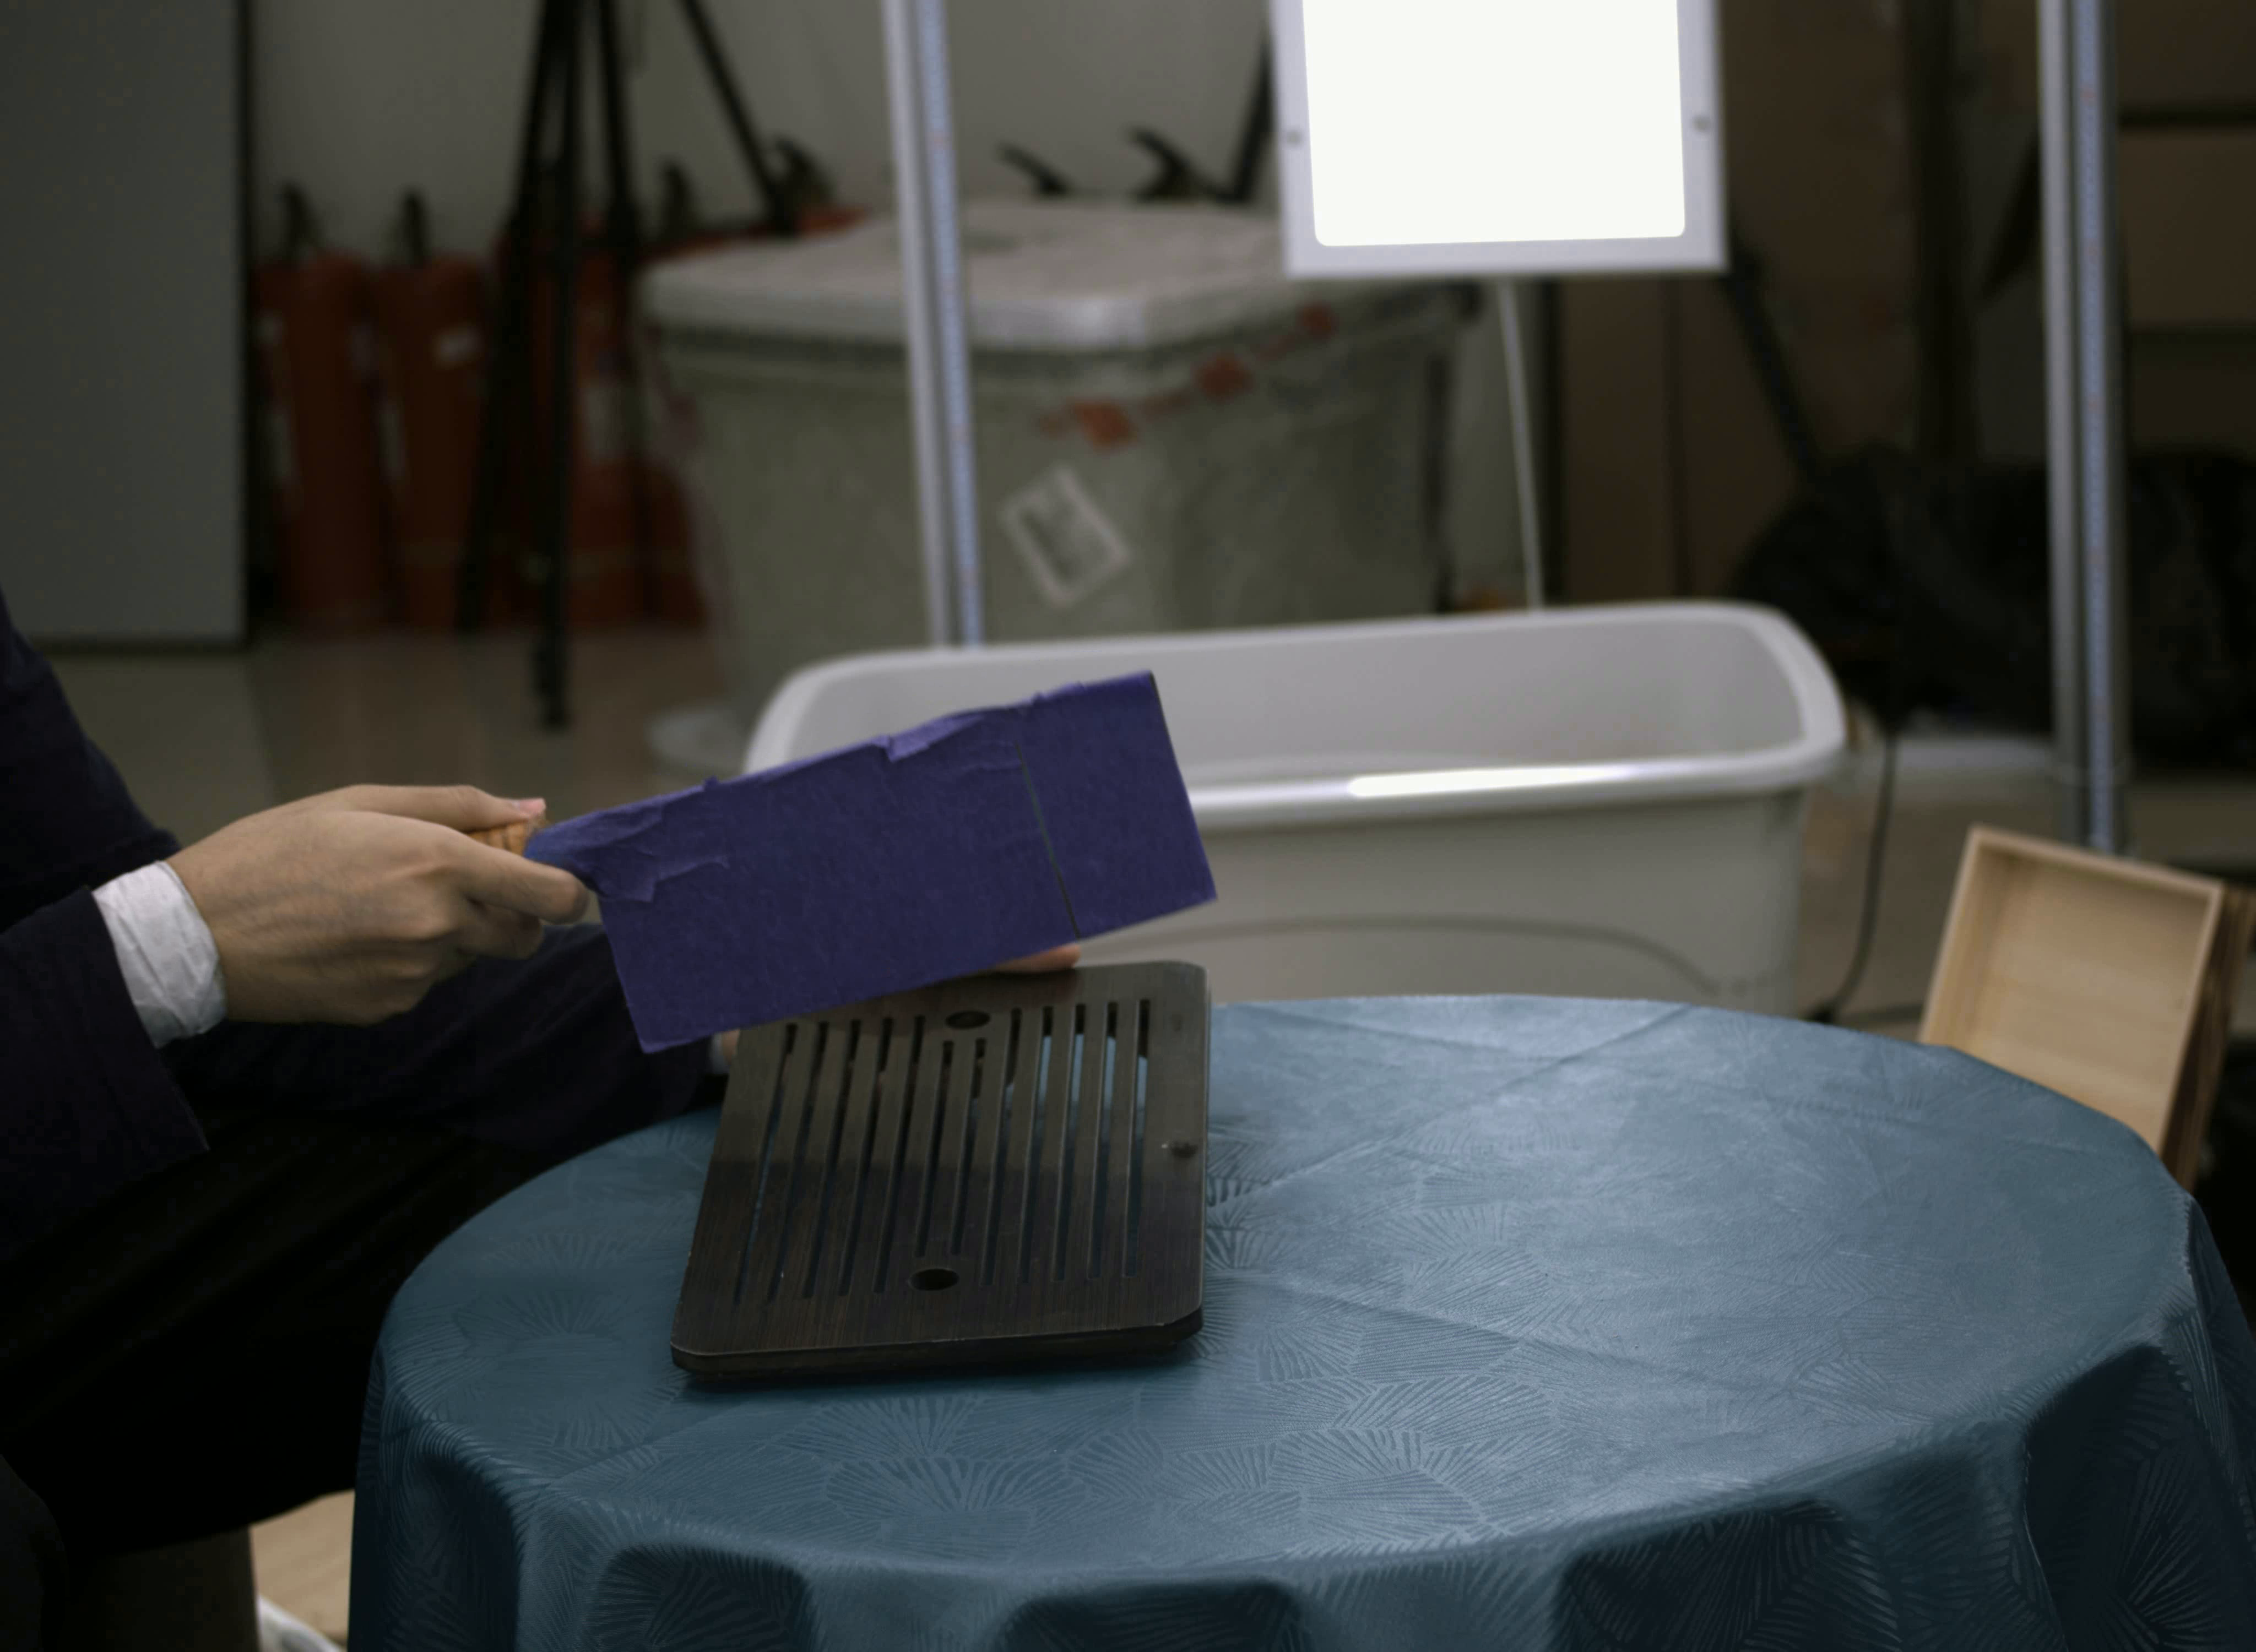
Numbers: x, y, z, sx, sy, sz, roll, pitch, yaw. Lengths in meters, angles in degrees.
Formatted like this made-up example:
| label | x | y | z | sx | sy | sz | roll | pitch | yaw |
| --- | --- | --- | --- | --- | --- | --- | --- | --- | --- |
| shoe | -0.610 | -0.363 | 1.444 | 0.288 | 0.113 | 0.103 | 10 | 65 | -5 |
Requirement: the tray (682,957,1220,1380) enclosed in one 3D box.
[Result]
| label | x | y | z | sx | sy | sz | roll | pitch | yaw |
| --- | --- | --- | --- | --- | --- | --- | --- | --- | --- |
| tray | -0.053 | 0.114 | 1.867 | 0.170 | 0.019 | 0.304 | -5 | 21 | 4 |

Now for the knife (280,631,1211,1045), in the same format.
| label | x | y | z | sx | sy | sz | roll | pitch | yaw |
| --- | --- | --- | --- | --- | --- | --- | --- | --- | --- |
| knife | -0.130 | 0.023 | 1.893 | 0.316 | 0.104 | 0.032 | -15 | 17 | 6 |
